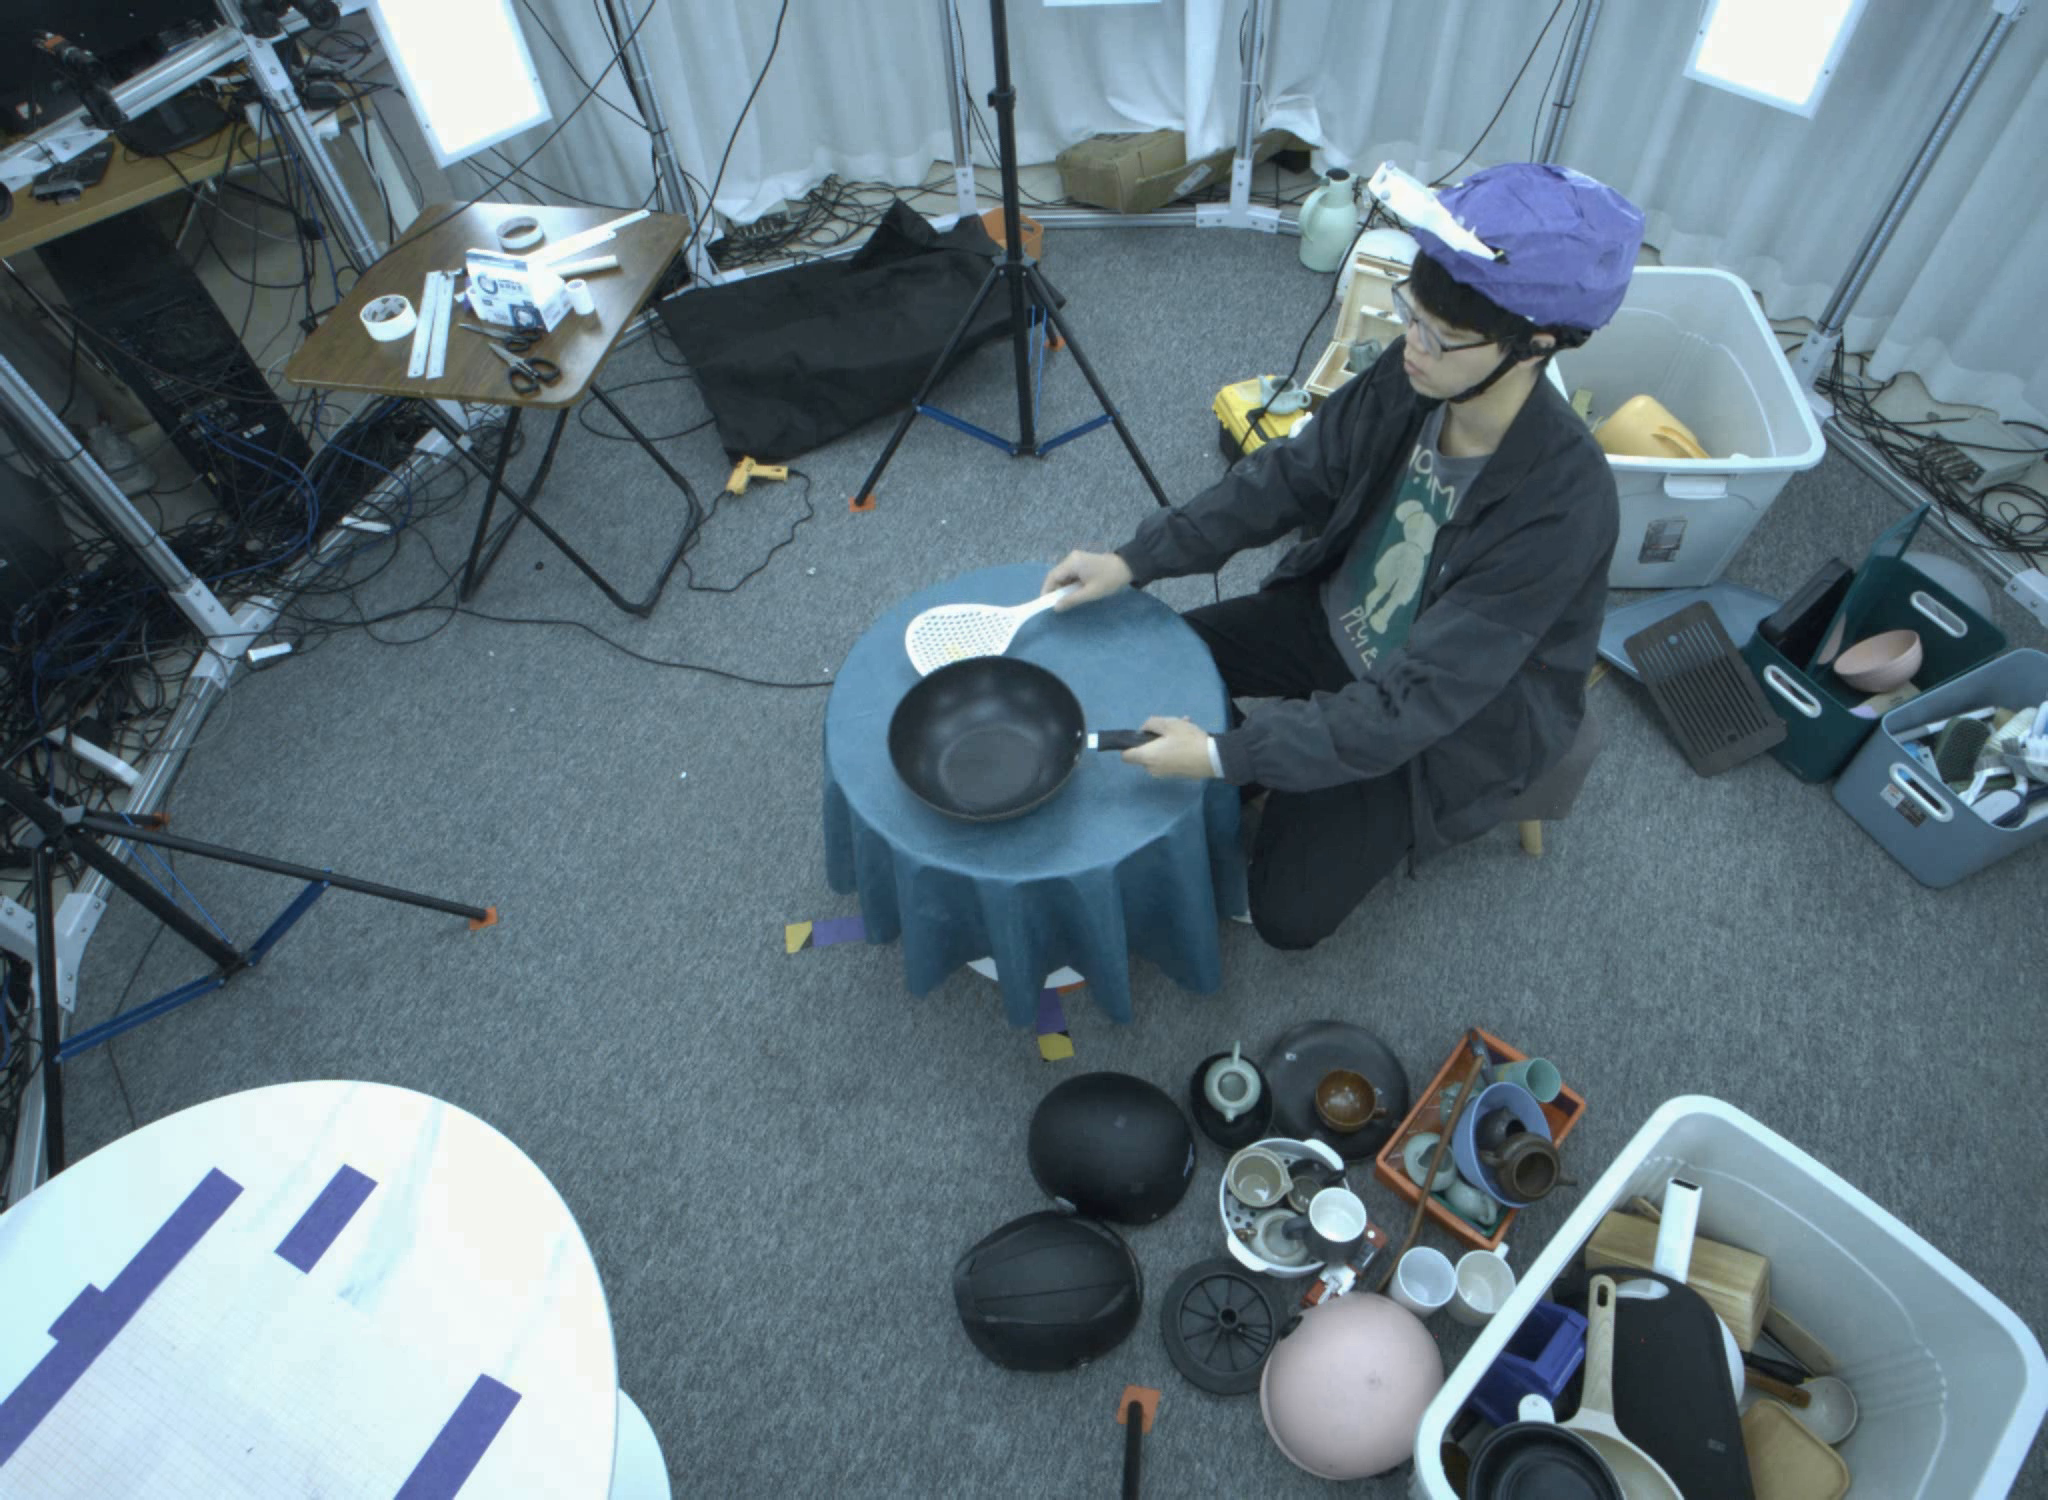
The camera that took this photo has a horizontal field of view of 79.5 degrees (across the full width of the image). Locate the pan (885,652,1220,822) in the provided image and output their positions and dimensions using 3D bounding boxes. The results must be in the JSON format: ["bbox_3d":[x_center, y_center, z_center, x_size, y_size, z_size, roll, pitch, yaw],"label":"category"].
[{"bbox_3d":[0.040,-0.001,1.726,0.462,0.088,0.285,3,55,3],"label":"pan"}]

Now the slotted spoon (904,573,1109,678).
[{"bbox_3d":[-0.017,-0.202,1.888,0.350,0.050,0.135,-27,70,-12],"label":"slotted spoon"}]
